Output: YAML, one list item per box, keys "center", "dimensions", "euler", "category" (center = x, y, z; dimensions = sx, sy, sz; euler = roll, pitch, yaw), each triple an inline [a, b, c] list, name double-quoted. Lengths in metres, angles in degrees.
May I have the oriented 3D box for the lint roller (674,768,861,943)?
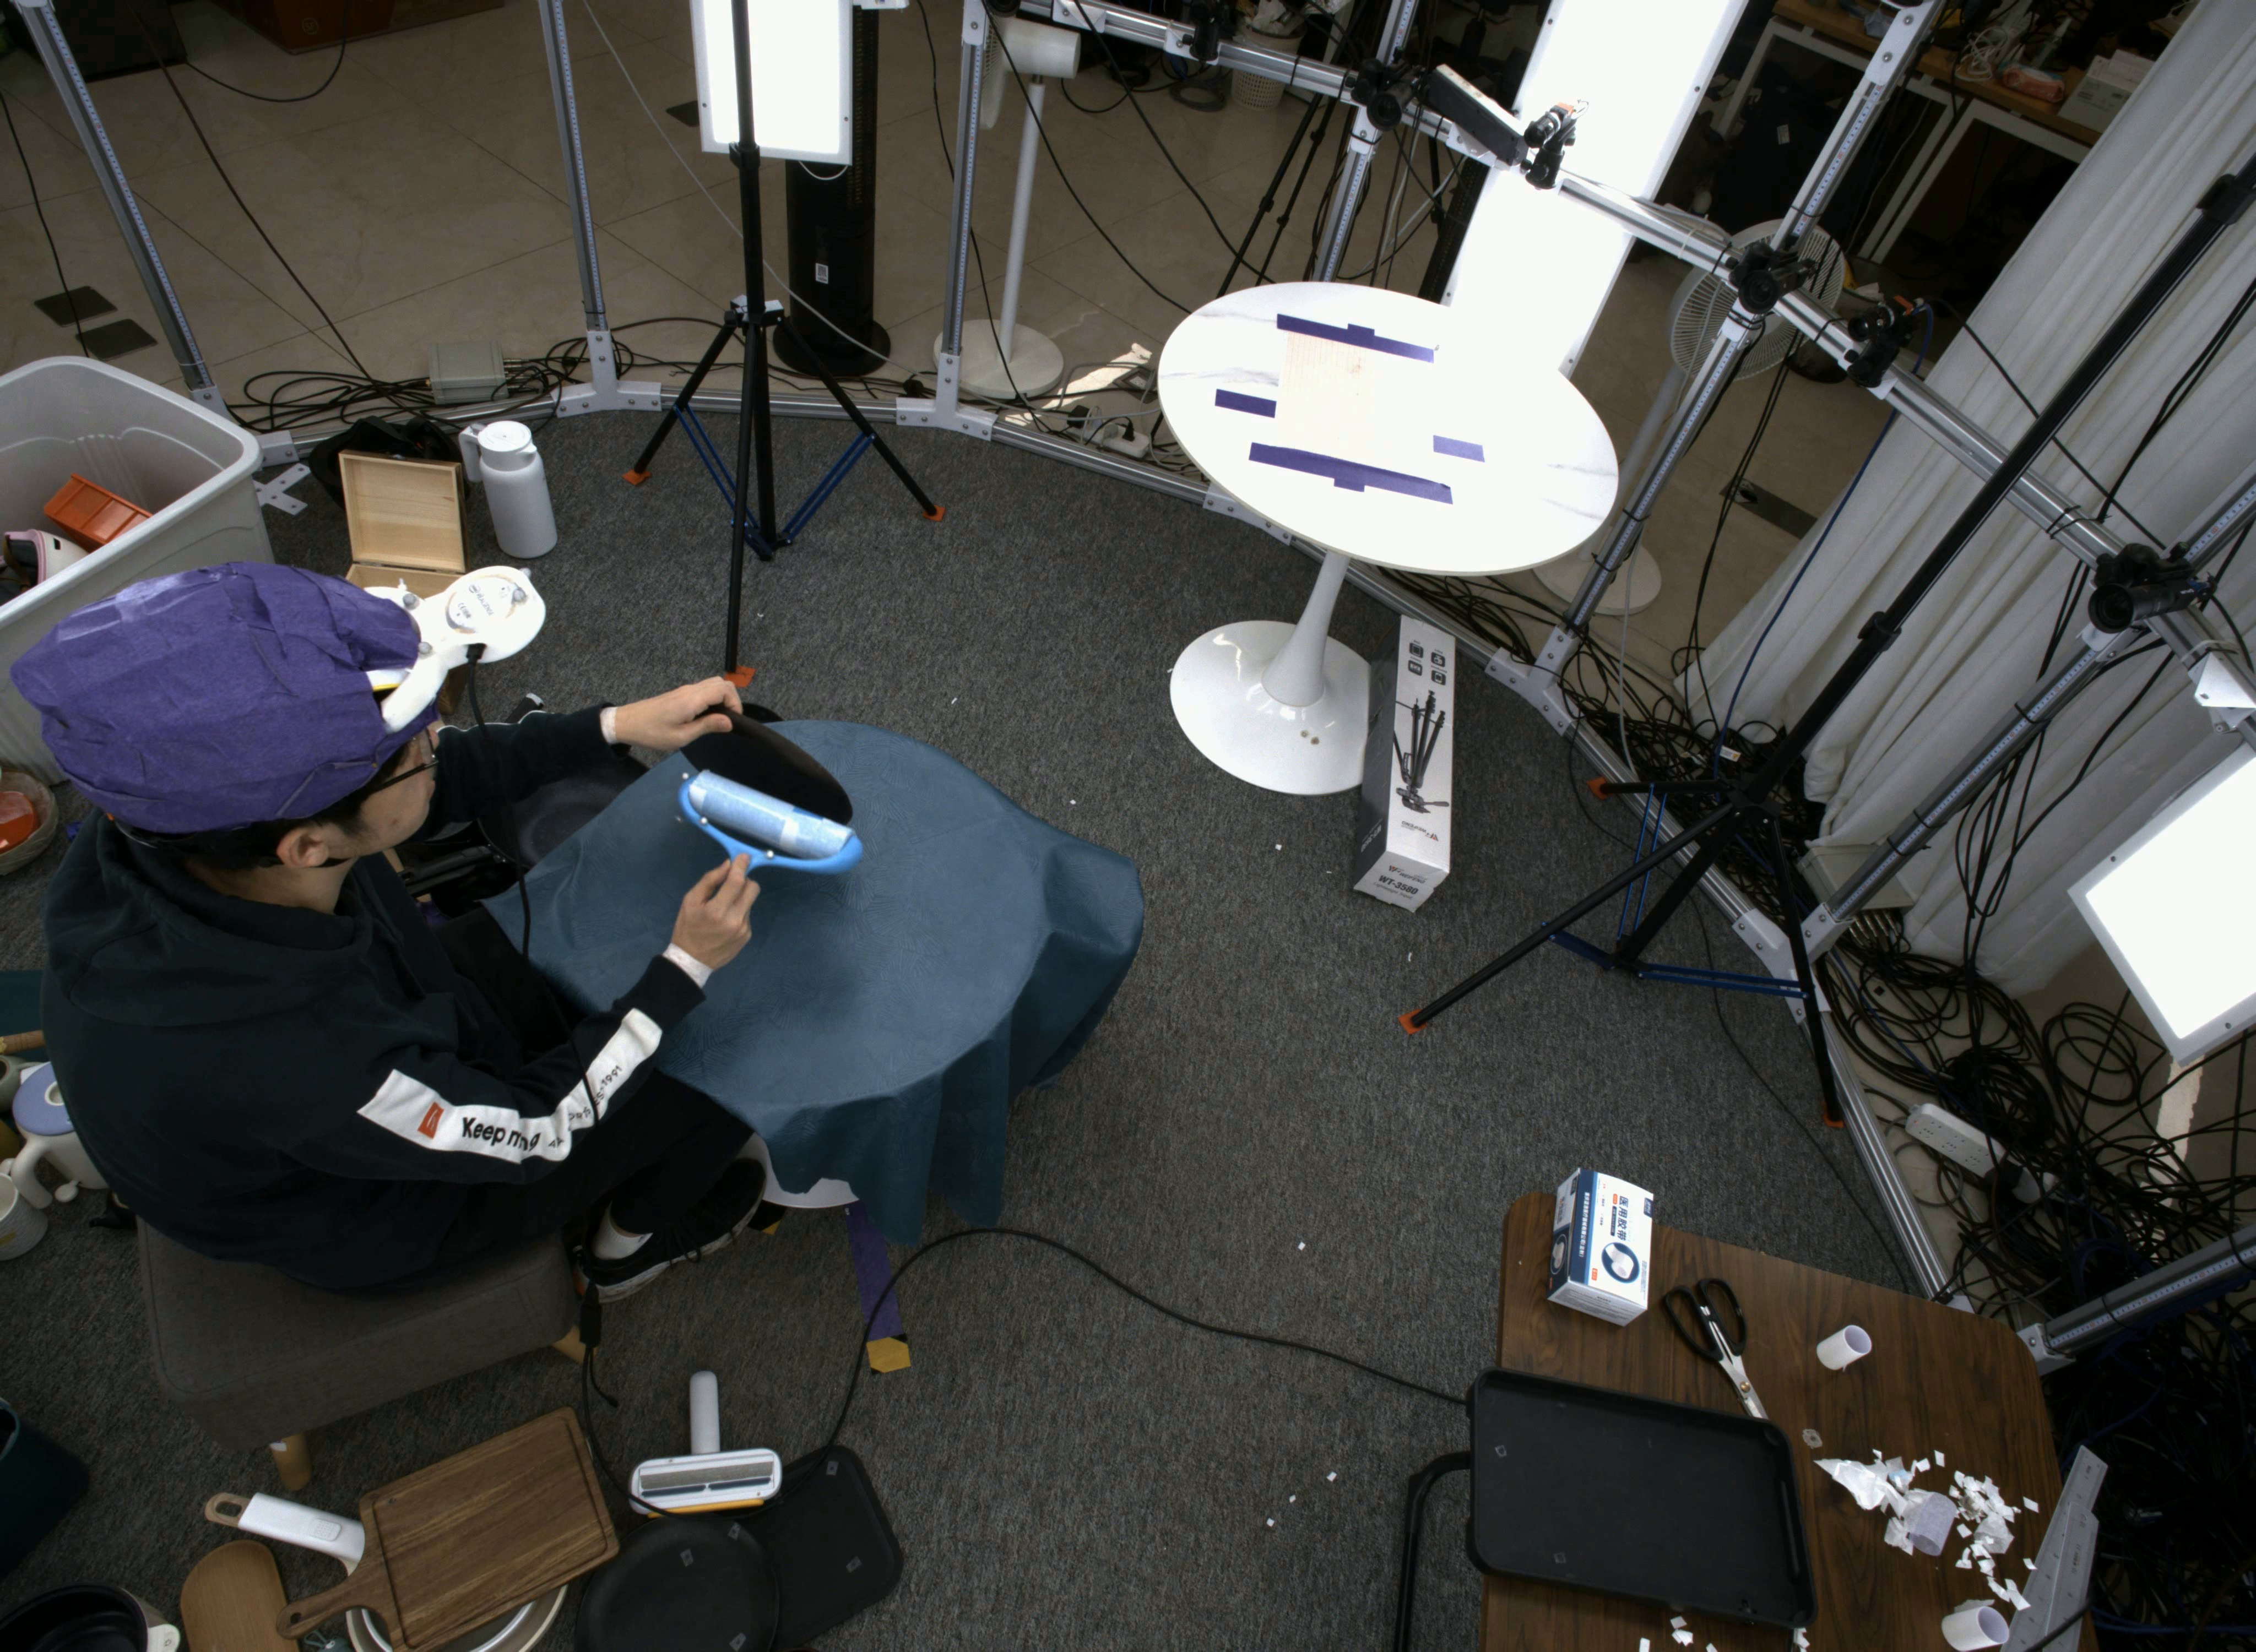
- center: [-0.439, 0.043, 1.498]
  dimensions: [0.228, 0.068, 0.180]
  euler: [20, 72, -4]
  category: "lint roller"

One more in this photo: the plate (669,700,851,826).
- center: [-0.462, -0.069, 1.614]
  dimensions: [0.251, 0.259, 0.029]
  euler: [22, 63, 5]
  category: "plate"
